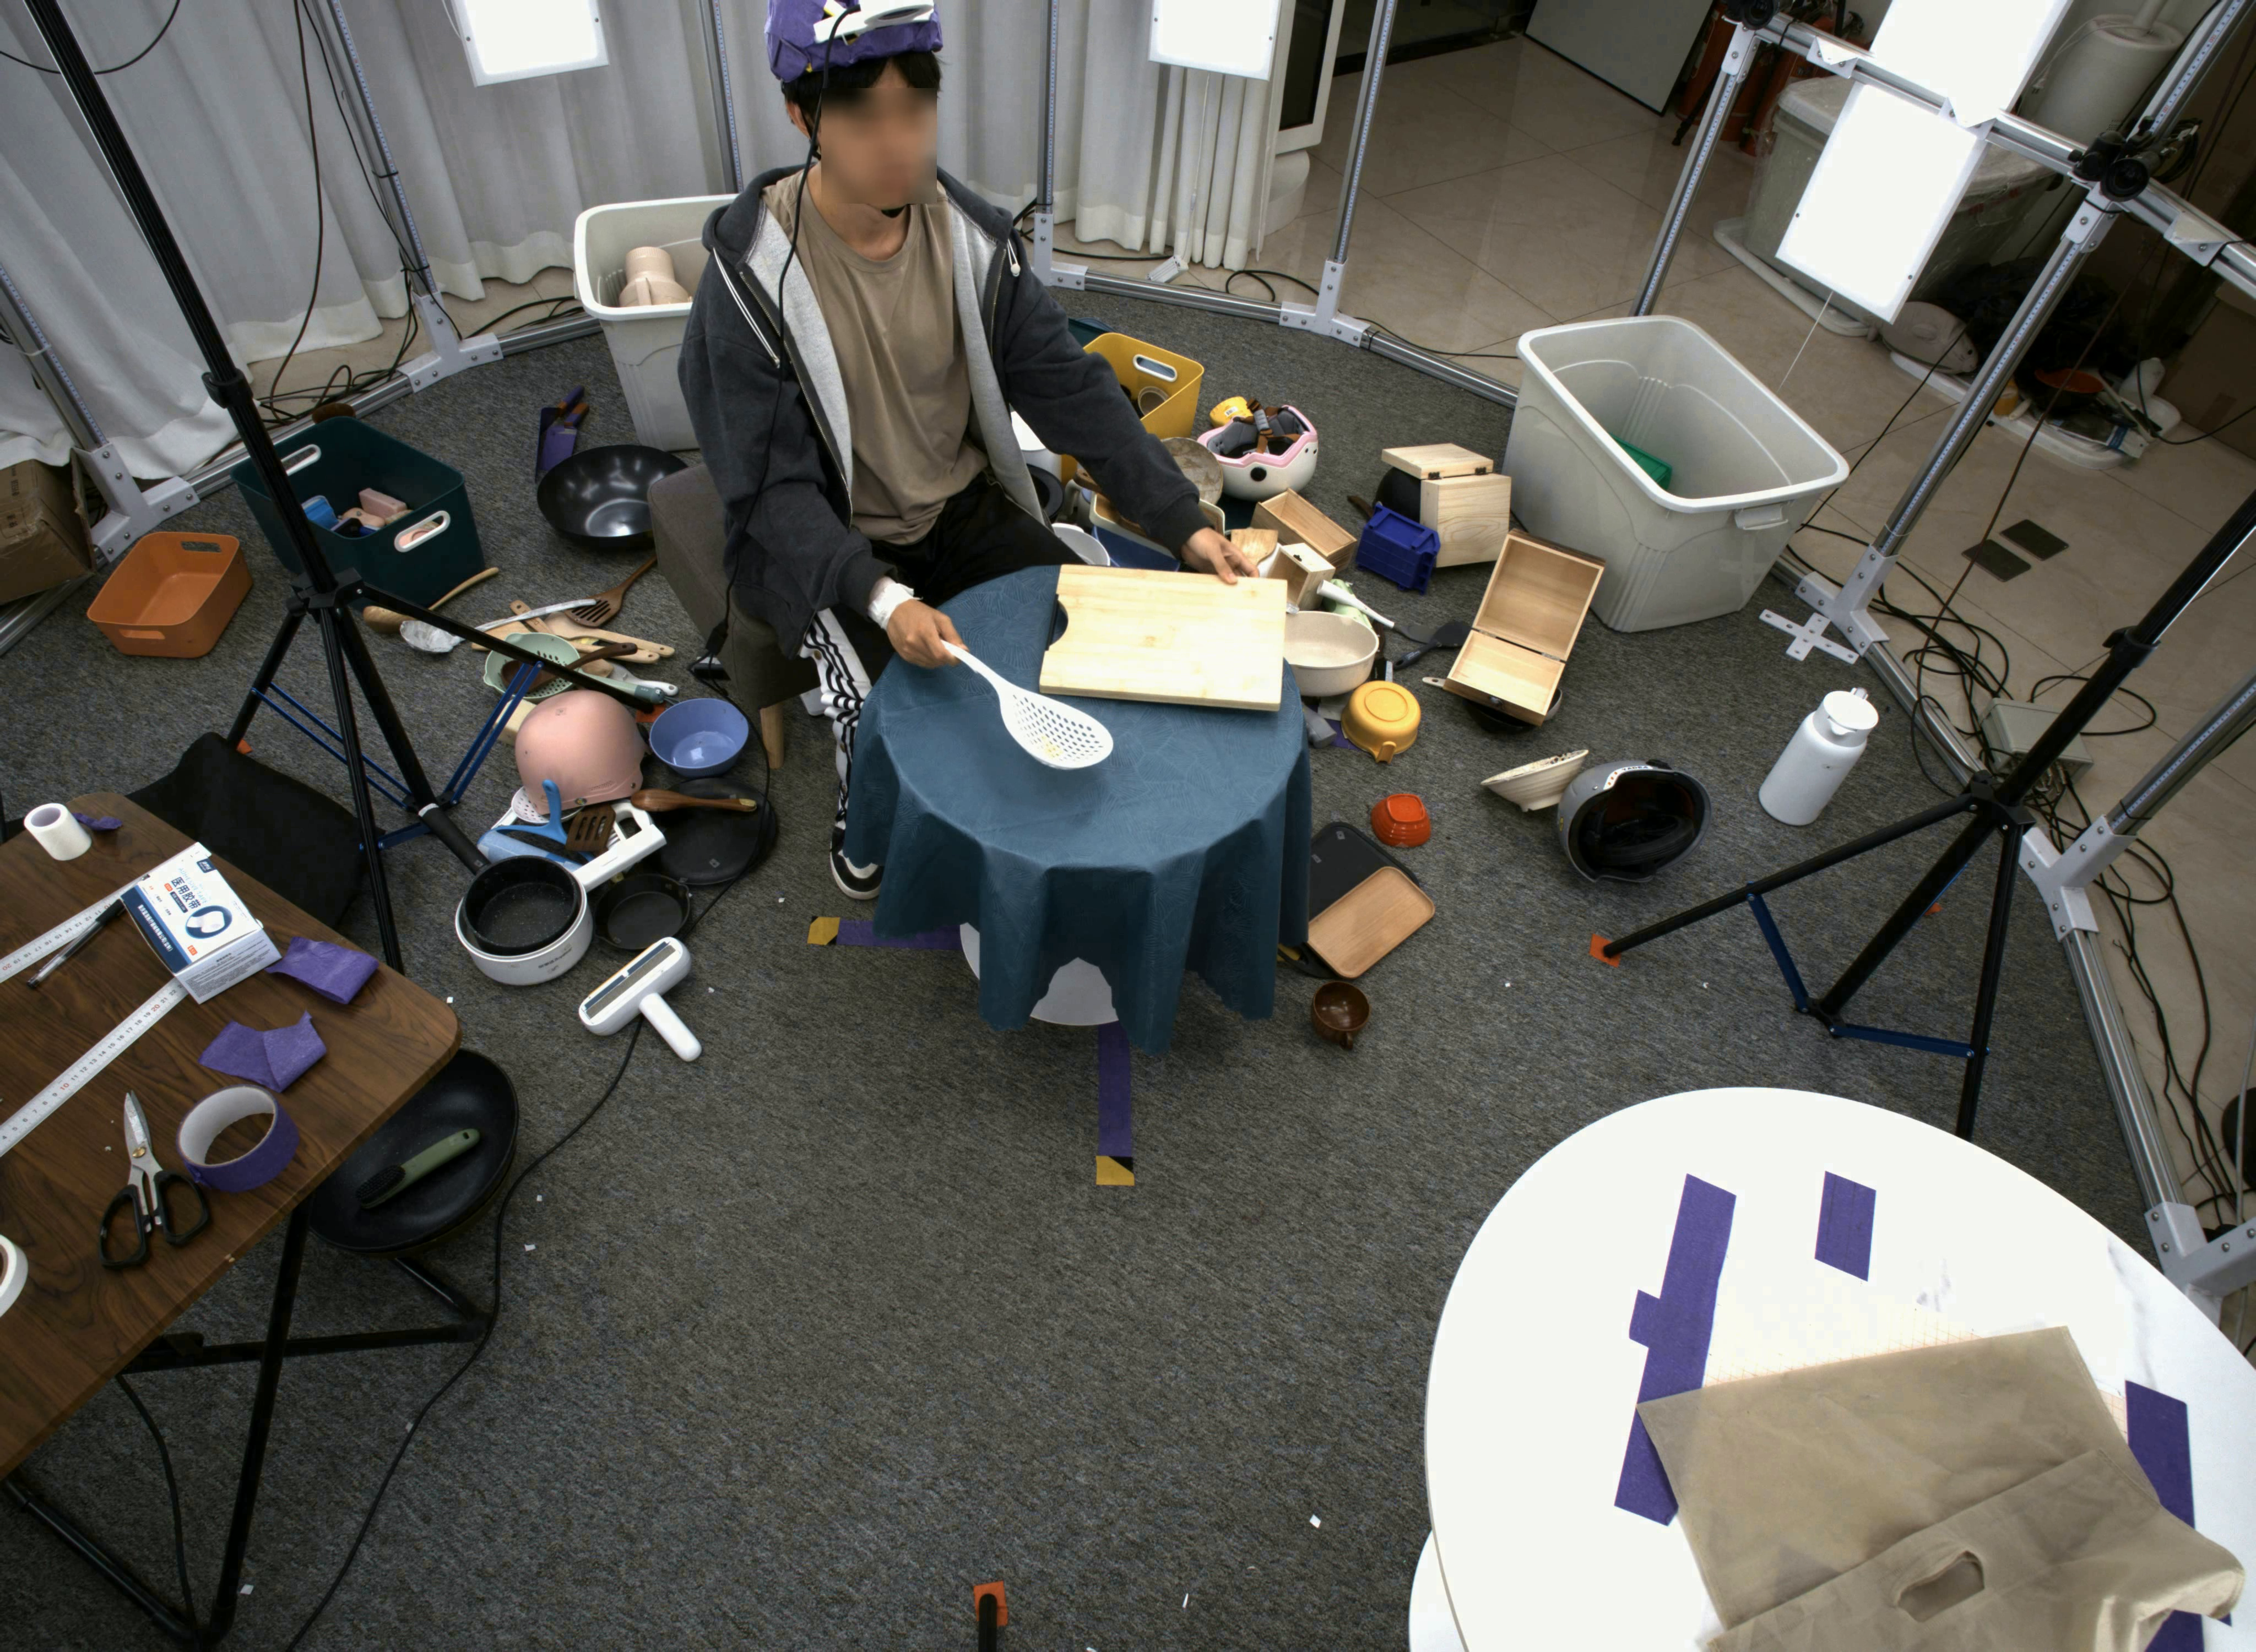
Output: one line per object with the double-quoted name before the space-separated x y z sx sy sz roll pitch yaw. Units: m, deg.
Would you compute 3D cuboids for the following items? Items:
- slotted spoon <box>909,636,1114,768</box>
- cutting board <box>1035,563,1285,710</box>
"slotted spoon" -0.168 -0.177 1.729 0.353 0.049 0.138 41 43 22
"cutting board" 0.052 -0.279 1.872 0.349 0.023 0.256 4 54 4
